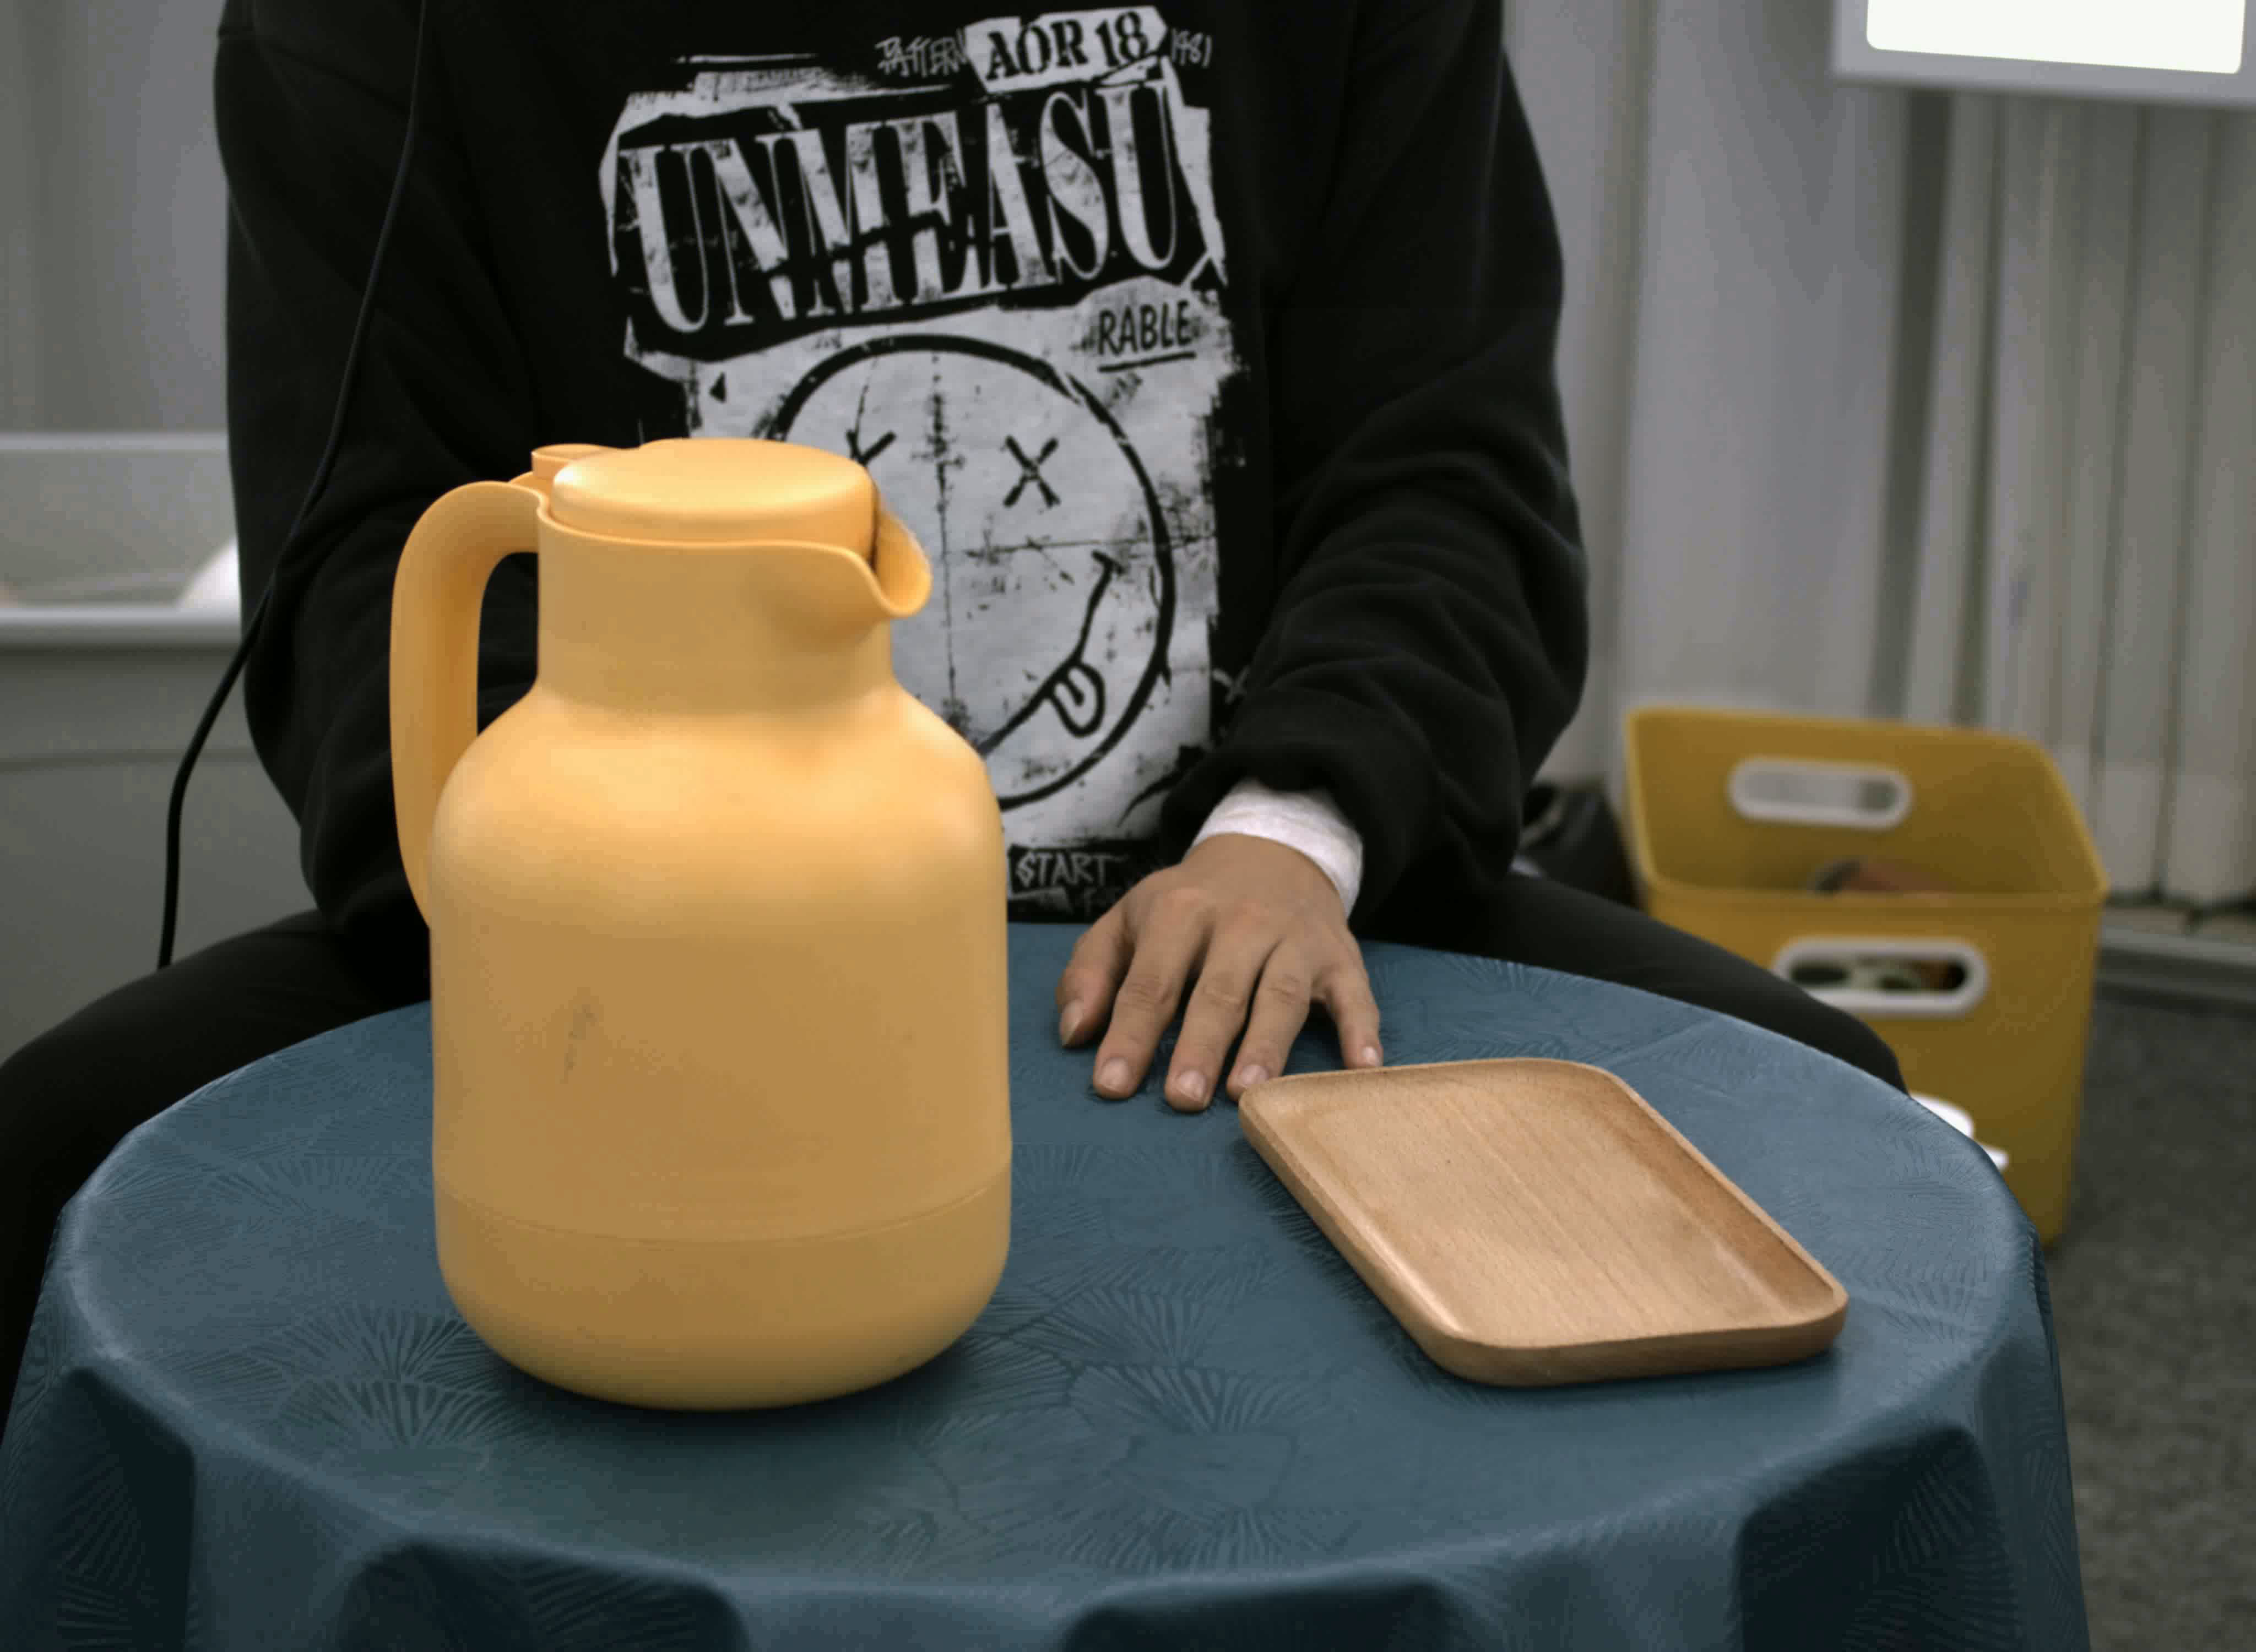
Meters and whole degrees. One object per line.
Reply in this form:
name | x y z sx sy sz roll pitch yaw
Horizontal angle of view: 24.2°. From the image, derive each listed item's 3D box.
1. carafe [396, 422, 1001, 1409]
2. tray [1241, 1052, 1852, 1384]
carafe | -0.128 0.016 1.471 0.199 0.262 0.164 17 20 40
tray | 0.121 0.115 1.584 0.131 0.023 0.248 -1 15 -13
